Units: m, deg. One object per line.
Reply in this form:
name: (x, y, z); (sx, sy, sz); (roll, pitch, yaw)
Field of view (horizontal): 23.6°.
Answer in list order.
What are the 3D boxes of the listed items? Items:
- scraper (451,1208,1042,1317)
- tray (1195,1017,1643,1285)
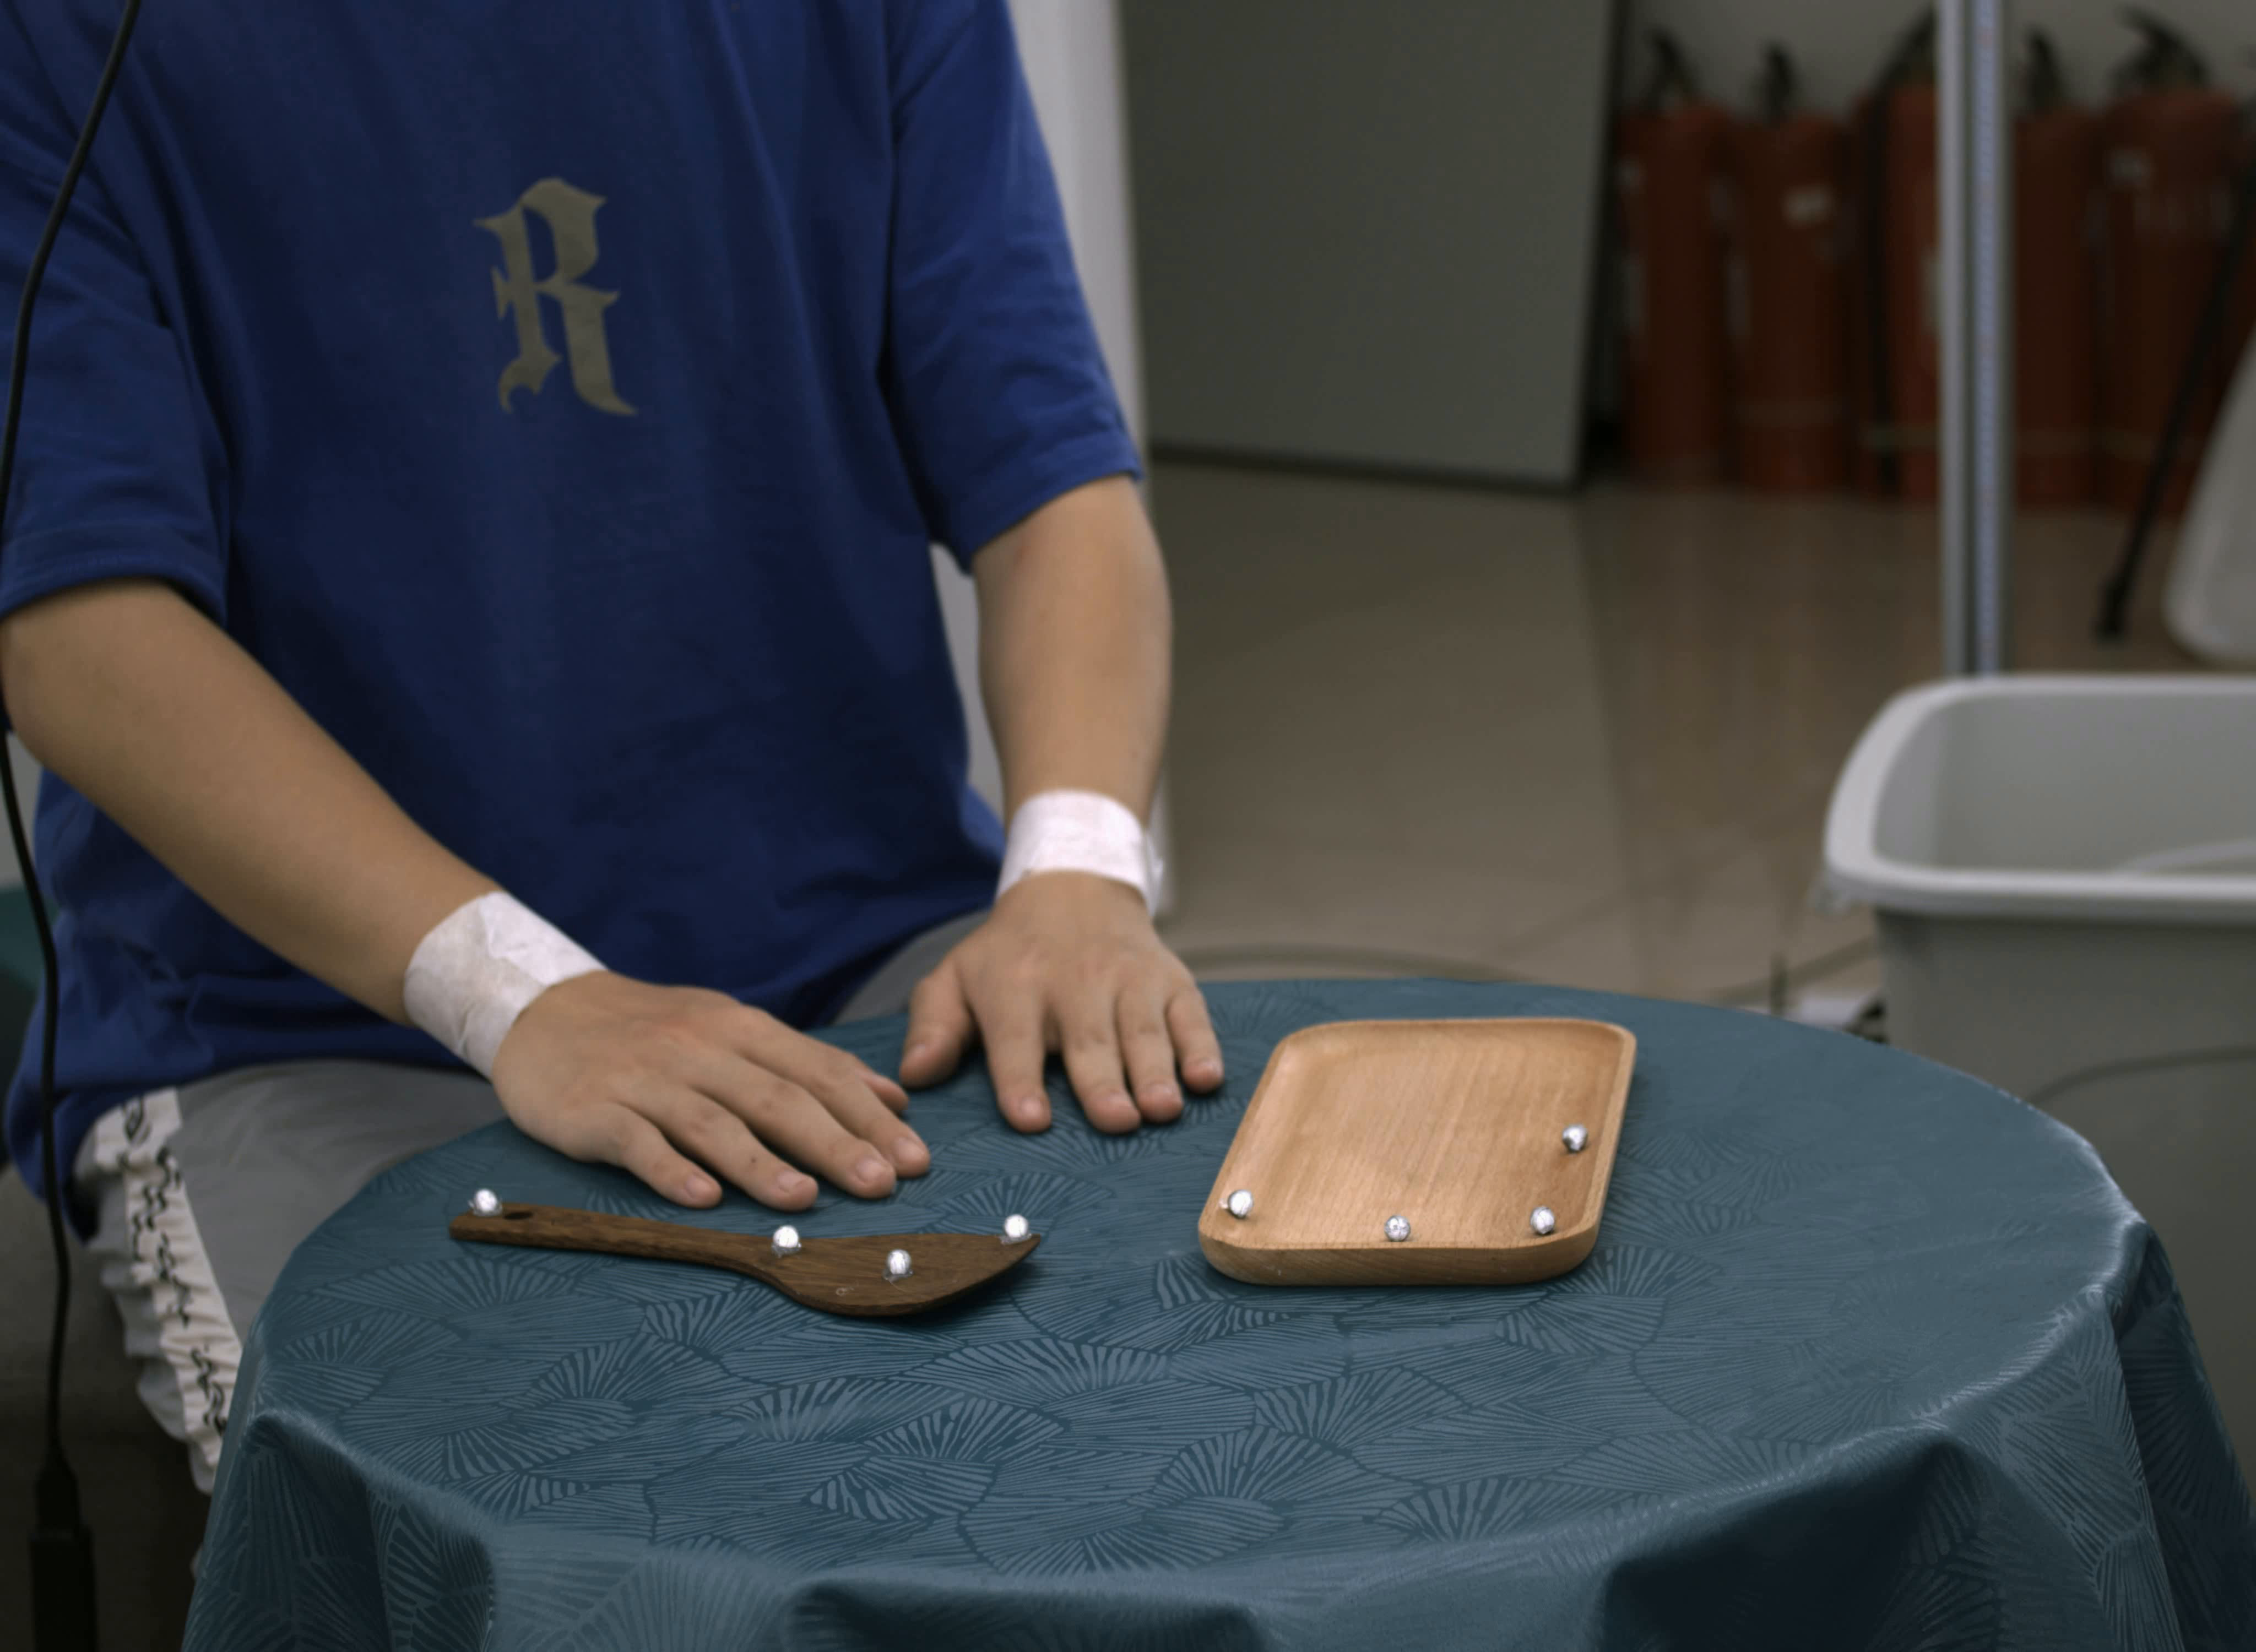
scraper: (-0.128, 0.137, 1.728); (0.212, 0.011, 0.074); (4, 15, 32)
tray: (0.099, 0.105, 1.773); (0.129, 0.023, 0.249); (1, 14, 10)
